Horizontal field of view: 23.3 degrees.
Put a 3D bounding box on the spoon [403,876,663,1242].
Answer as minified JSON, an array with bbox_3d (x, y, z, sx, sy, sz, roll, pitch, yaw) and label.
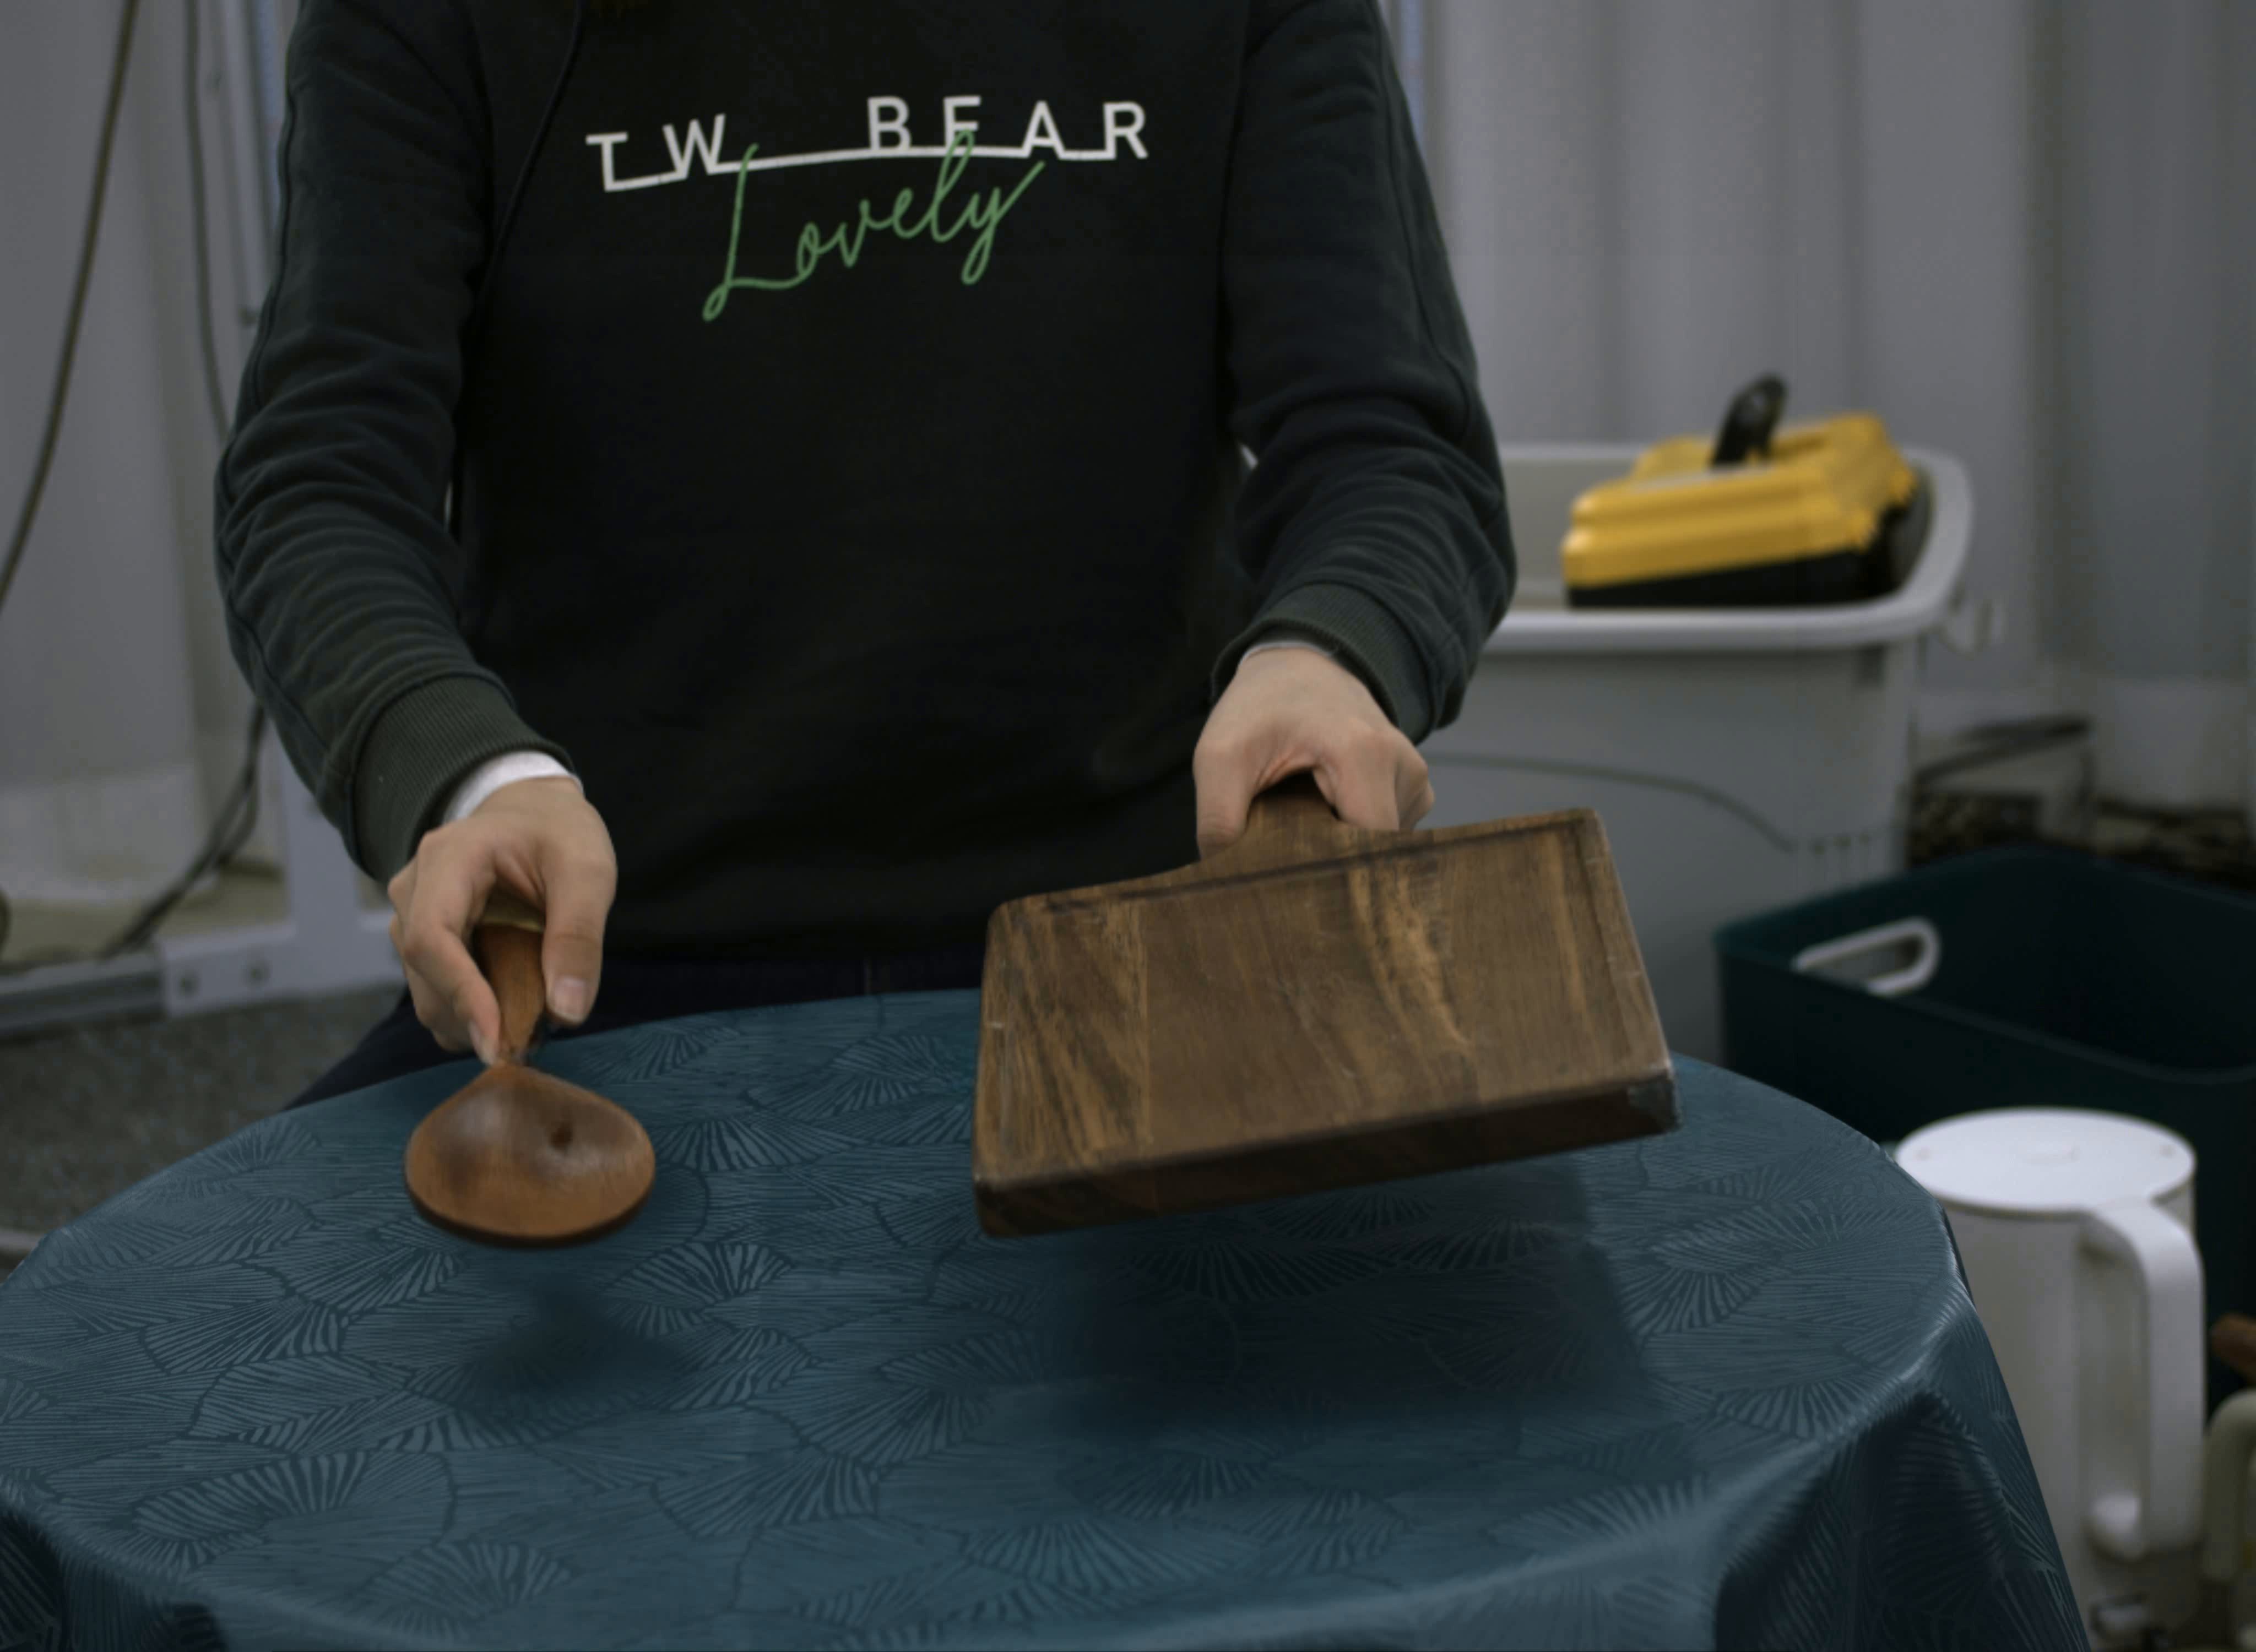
[{"bbox_3d":[-0.181,0.071,1.645,0.075,0.017,0.218,-4,27,-7],"label":"spoon"}]

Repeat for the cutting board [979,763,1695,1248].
[{"bbox_3d":[0.055,0.040,1.652,0.200,0.023,0.355,-11,16,3],"label":"cutting board"}]
